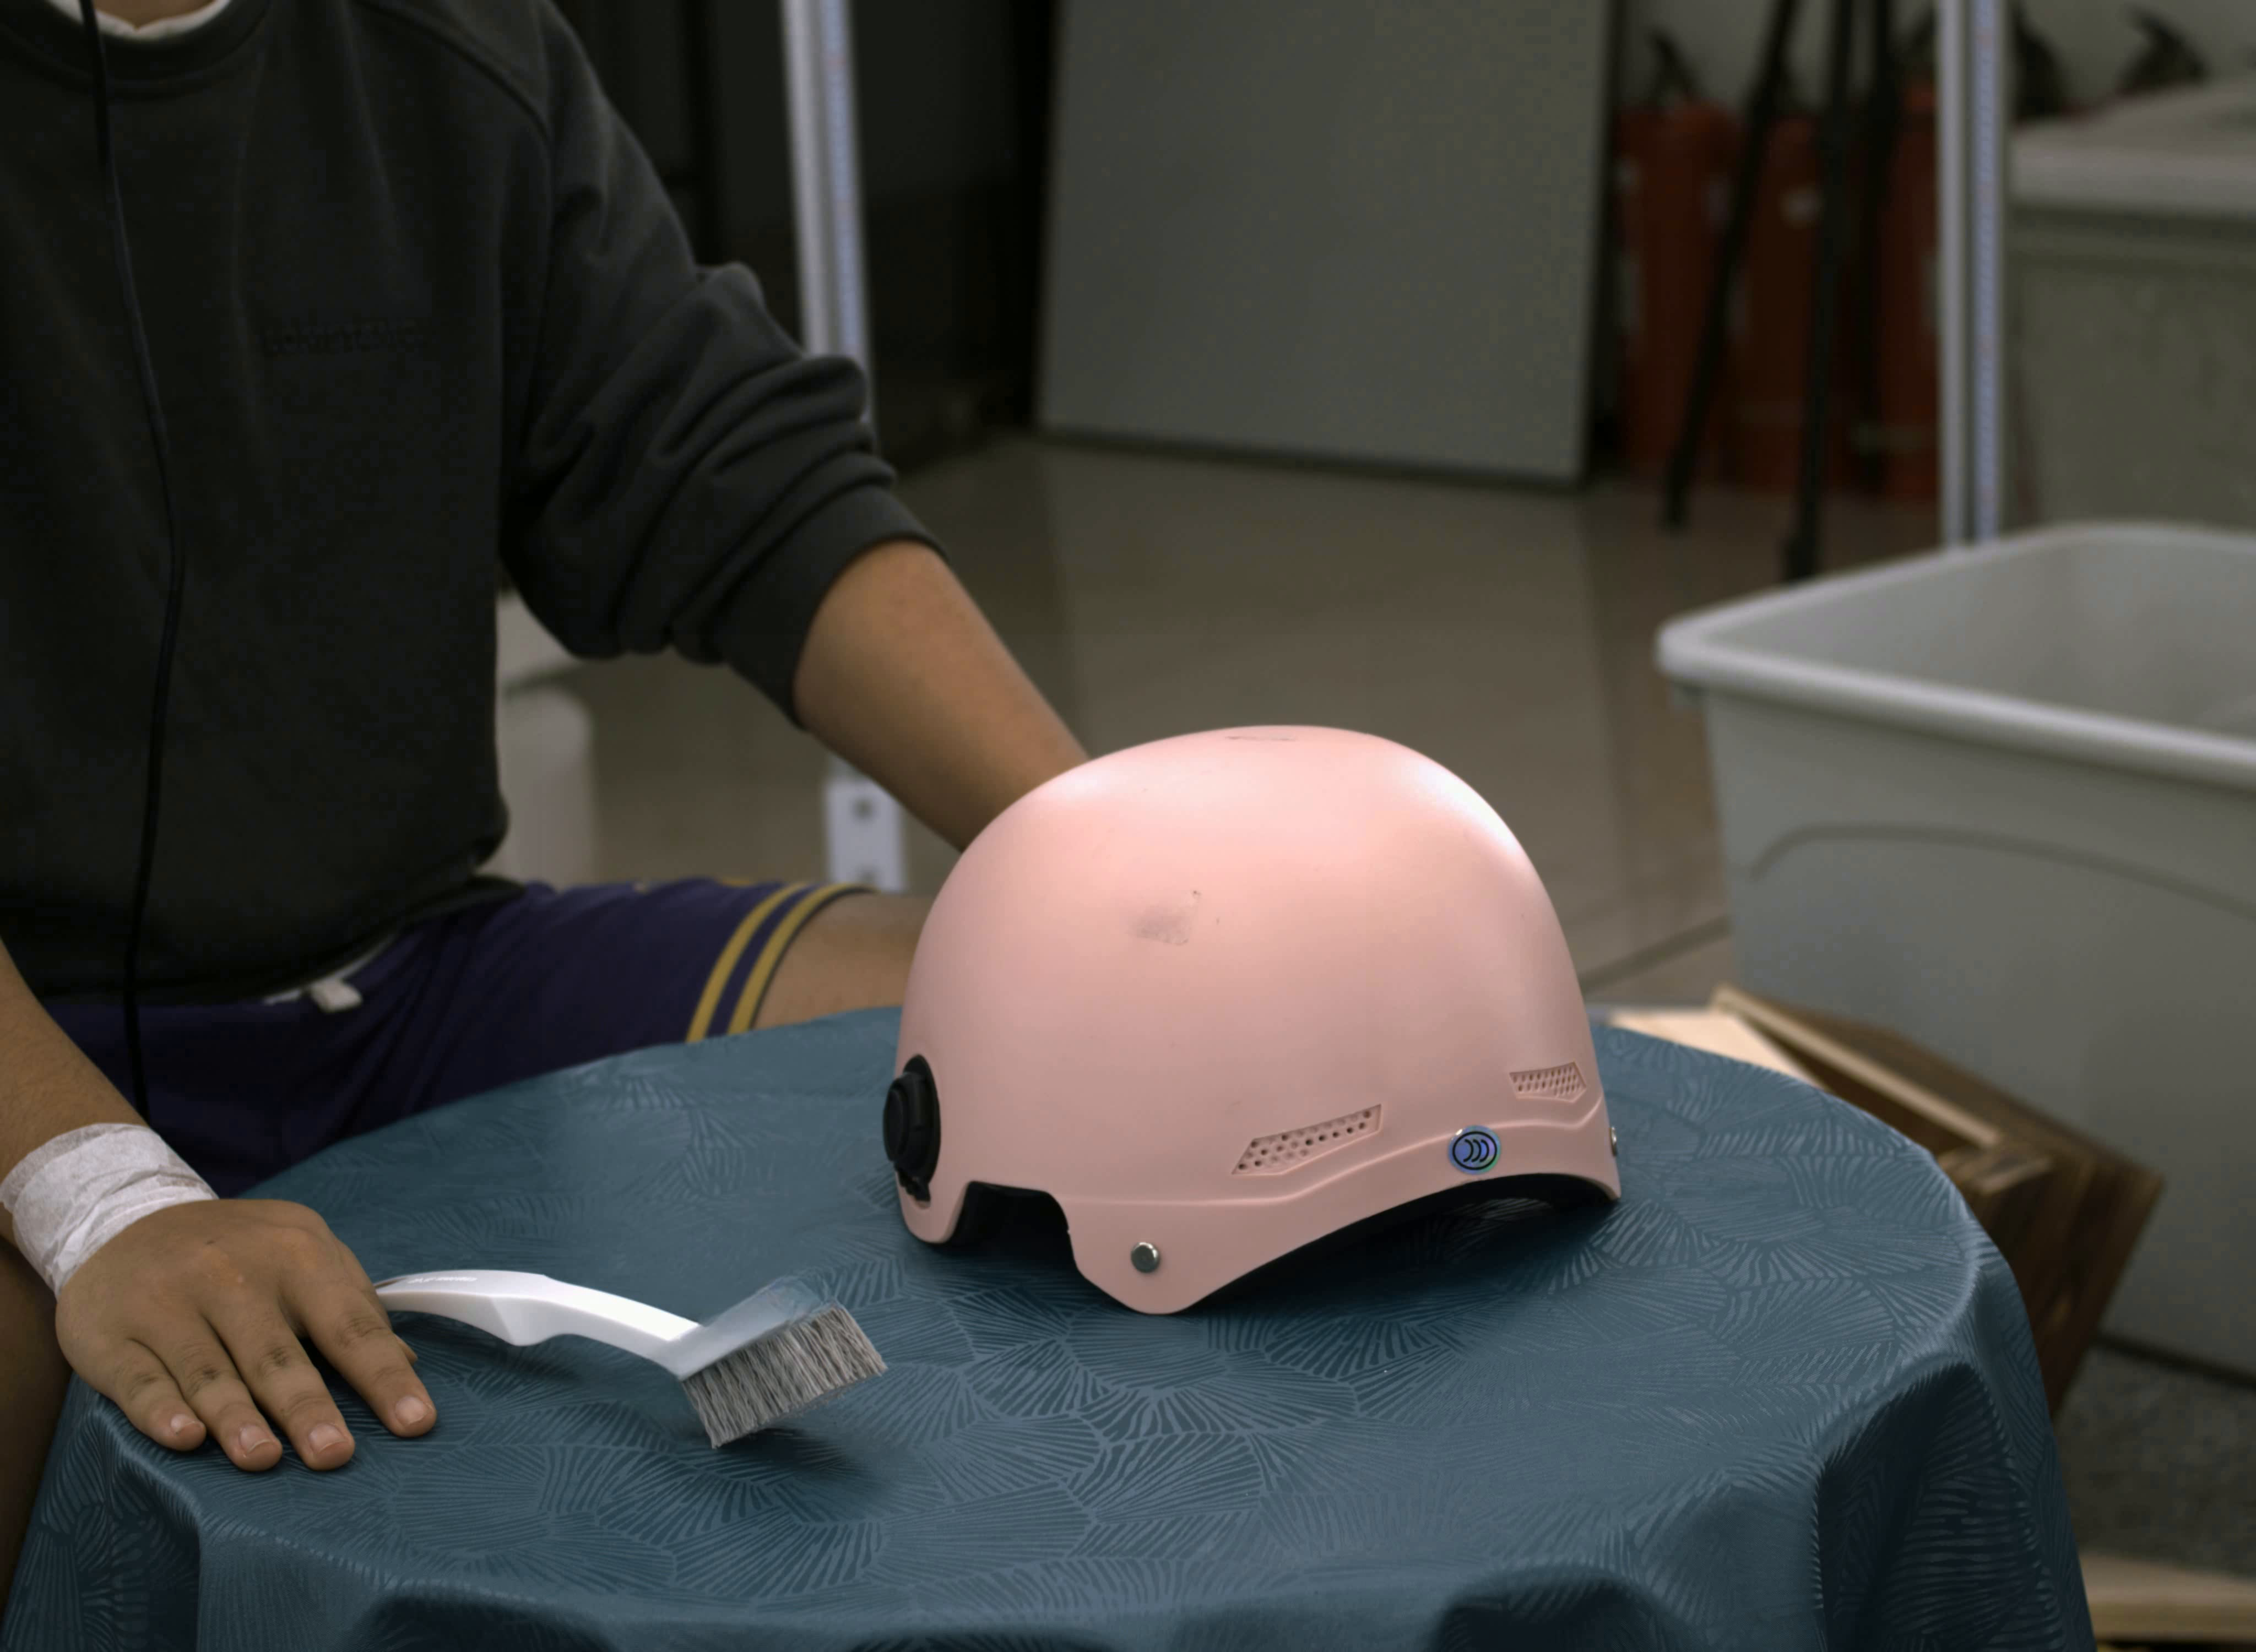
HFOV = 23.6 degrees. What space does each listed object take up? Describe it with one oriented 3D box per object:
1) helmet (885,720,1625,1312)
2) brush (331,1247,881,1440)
[{"bbox_3d":[0.032,0.046,1.749,0.229,0.160,0.269,-12,11,-28],"label":"helmet"},{"bbox_3d":[-0.159,0.159,1.614,0.034,0.051,0.246,-20,7,-41],"label":"brush"}]
